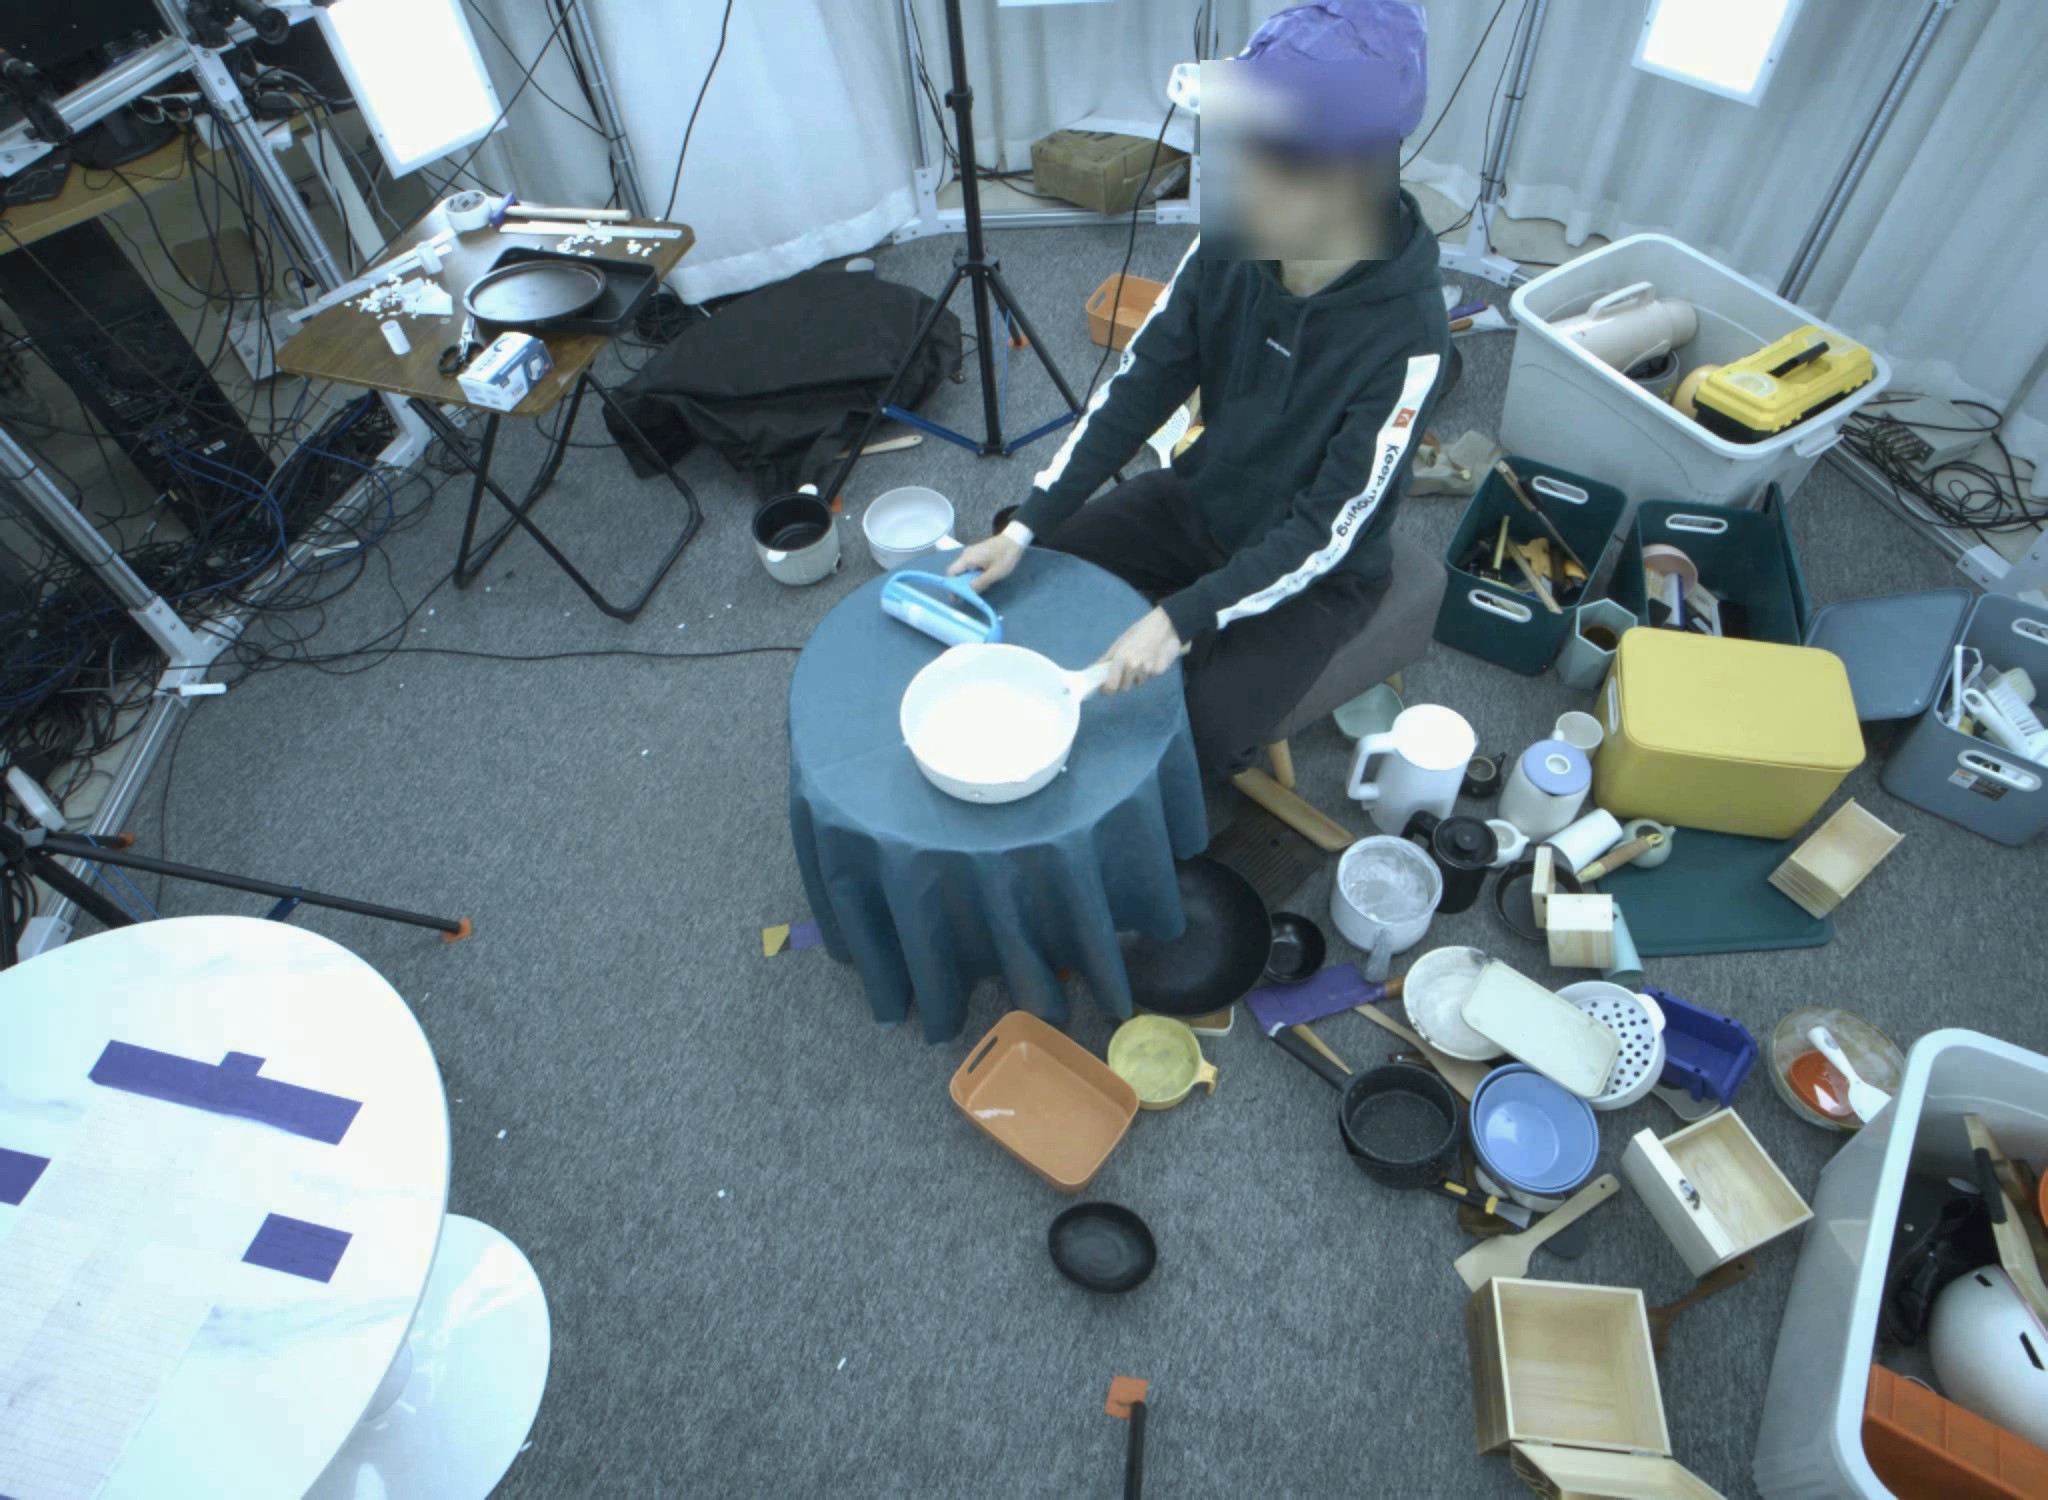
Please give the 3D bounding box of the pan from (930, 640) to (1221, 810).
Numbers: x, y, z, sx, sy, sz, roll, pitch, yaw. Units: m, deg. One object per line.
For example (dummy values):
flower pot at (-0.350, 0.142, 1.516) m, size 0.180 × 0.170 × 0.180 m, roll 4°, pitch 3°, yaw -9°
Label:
pan at (0.081, -0.055, 1.758) m, size 0.438 × 0.103 × 0.258 m, roll -18°, pitch 55°, yaw -13°

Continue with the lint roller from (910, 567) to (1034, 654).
lint roller at (-0.051, -0.240, 1.916) m, size 0.225 × 0.069 × 0.181 m, roll 27°, pitch 64°, yaw 22°
